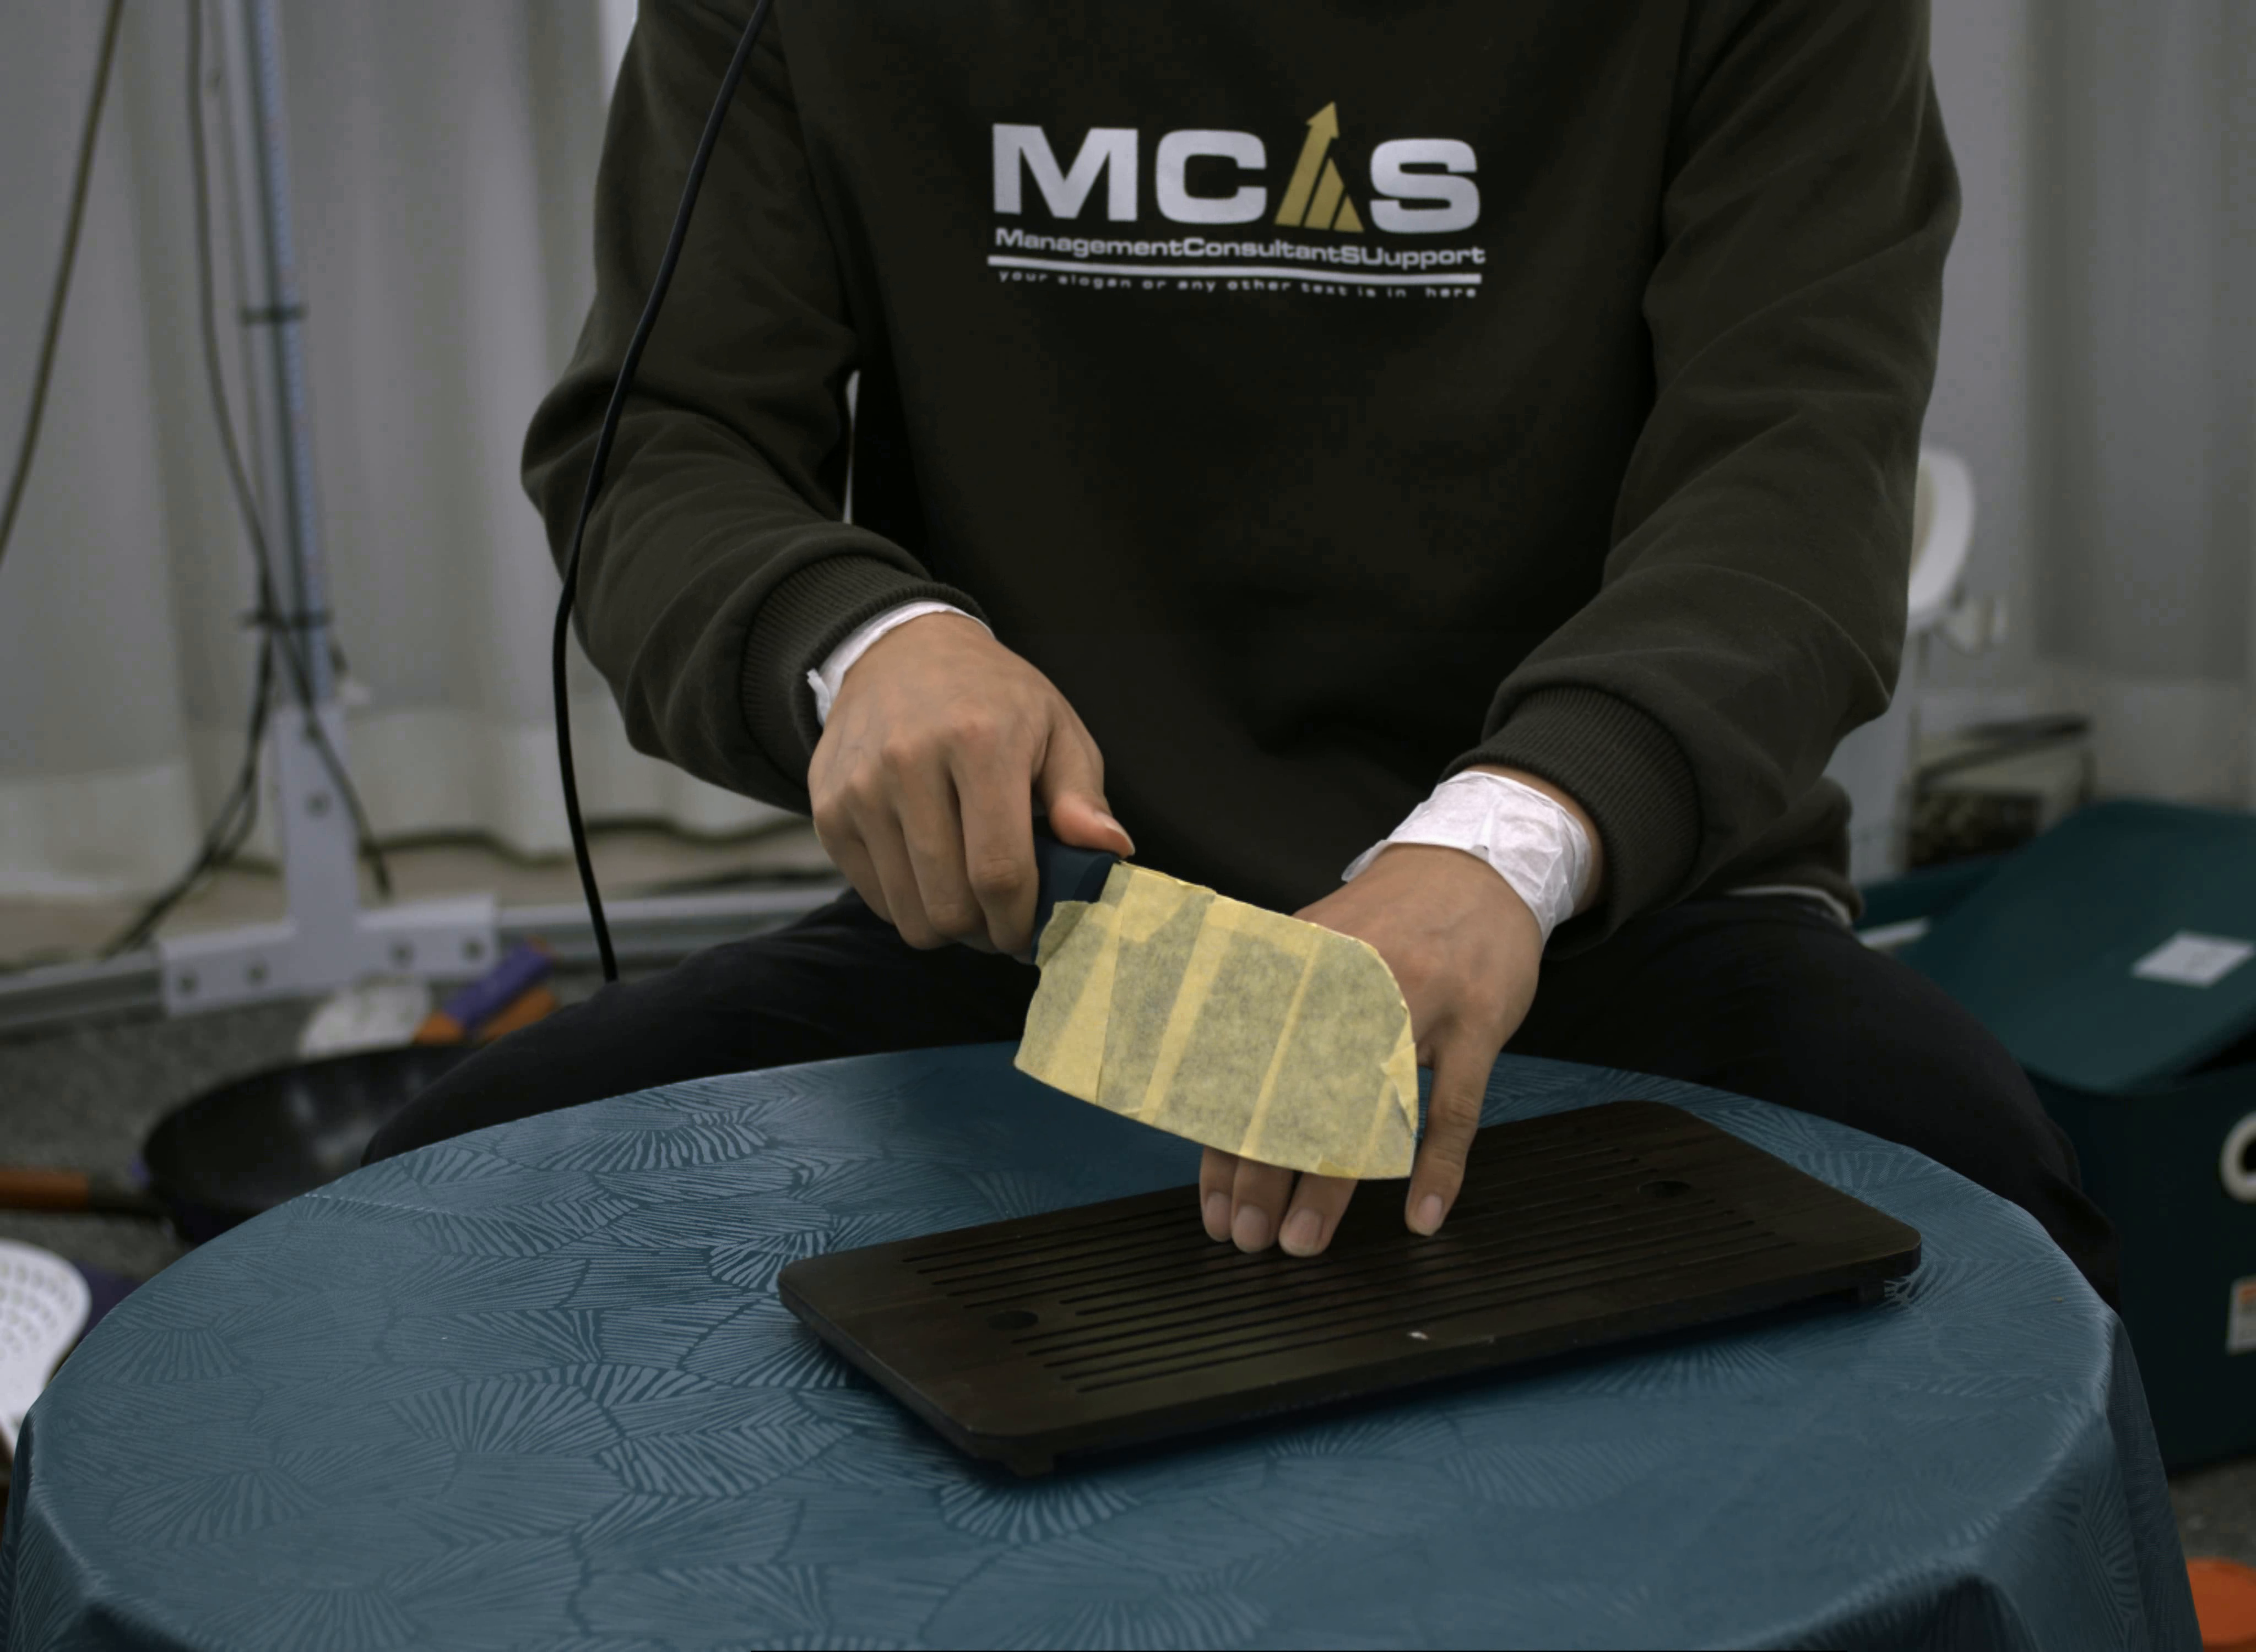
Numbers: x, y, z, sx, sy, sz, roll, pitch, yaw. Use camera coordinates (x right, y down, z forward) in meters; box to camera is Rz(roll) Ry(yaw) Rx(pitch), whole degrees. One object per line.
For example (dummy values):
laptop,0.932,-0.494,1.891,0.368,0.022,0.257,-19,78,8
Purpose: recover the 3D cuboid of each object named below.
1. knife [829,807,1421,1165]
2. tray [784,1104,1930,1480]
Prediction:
knife,-0.006,0.045,1.667,0.027,0.081,0.292,26,-3,-41
tray,0.066,0.134,1.598,0.304,0.018,0.171,-9,15,-23
